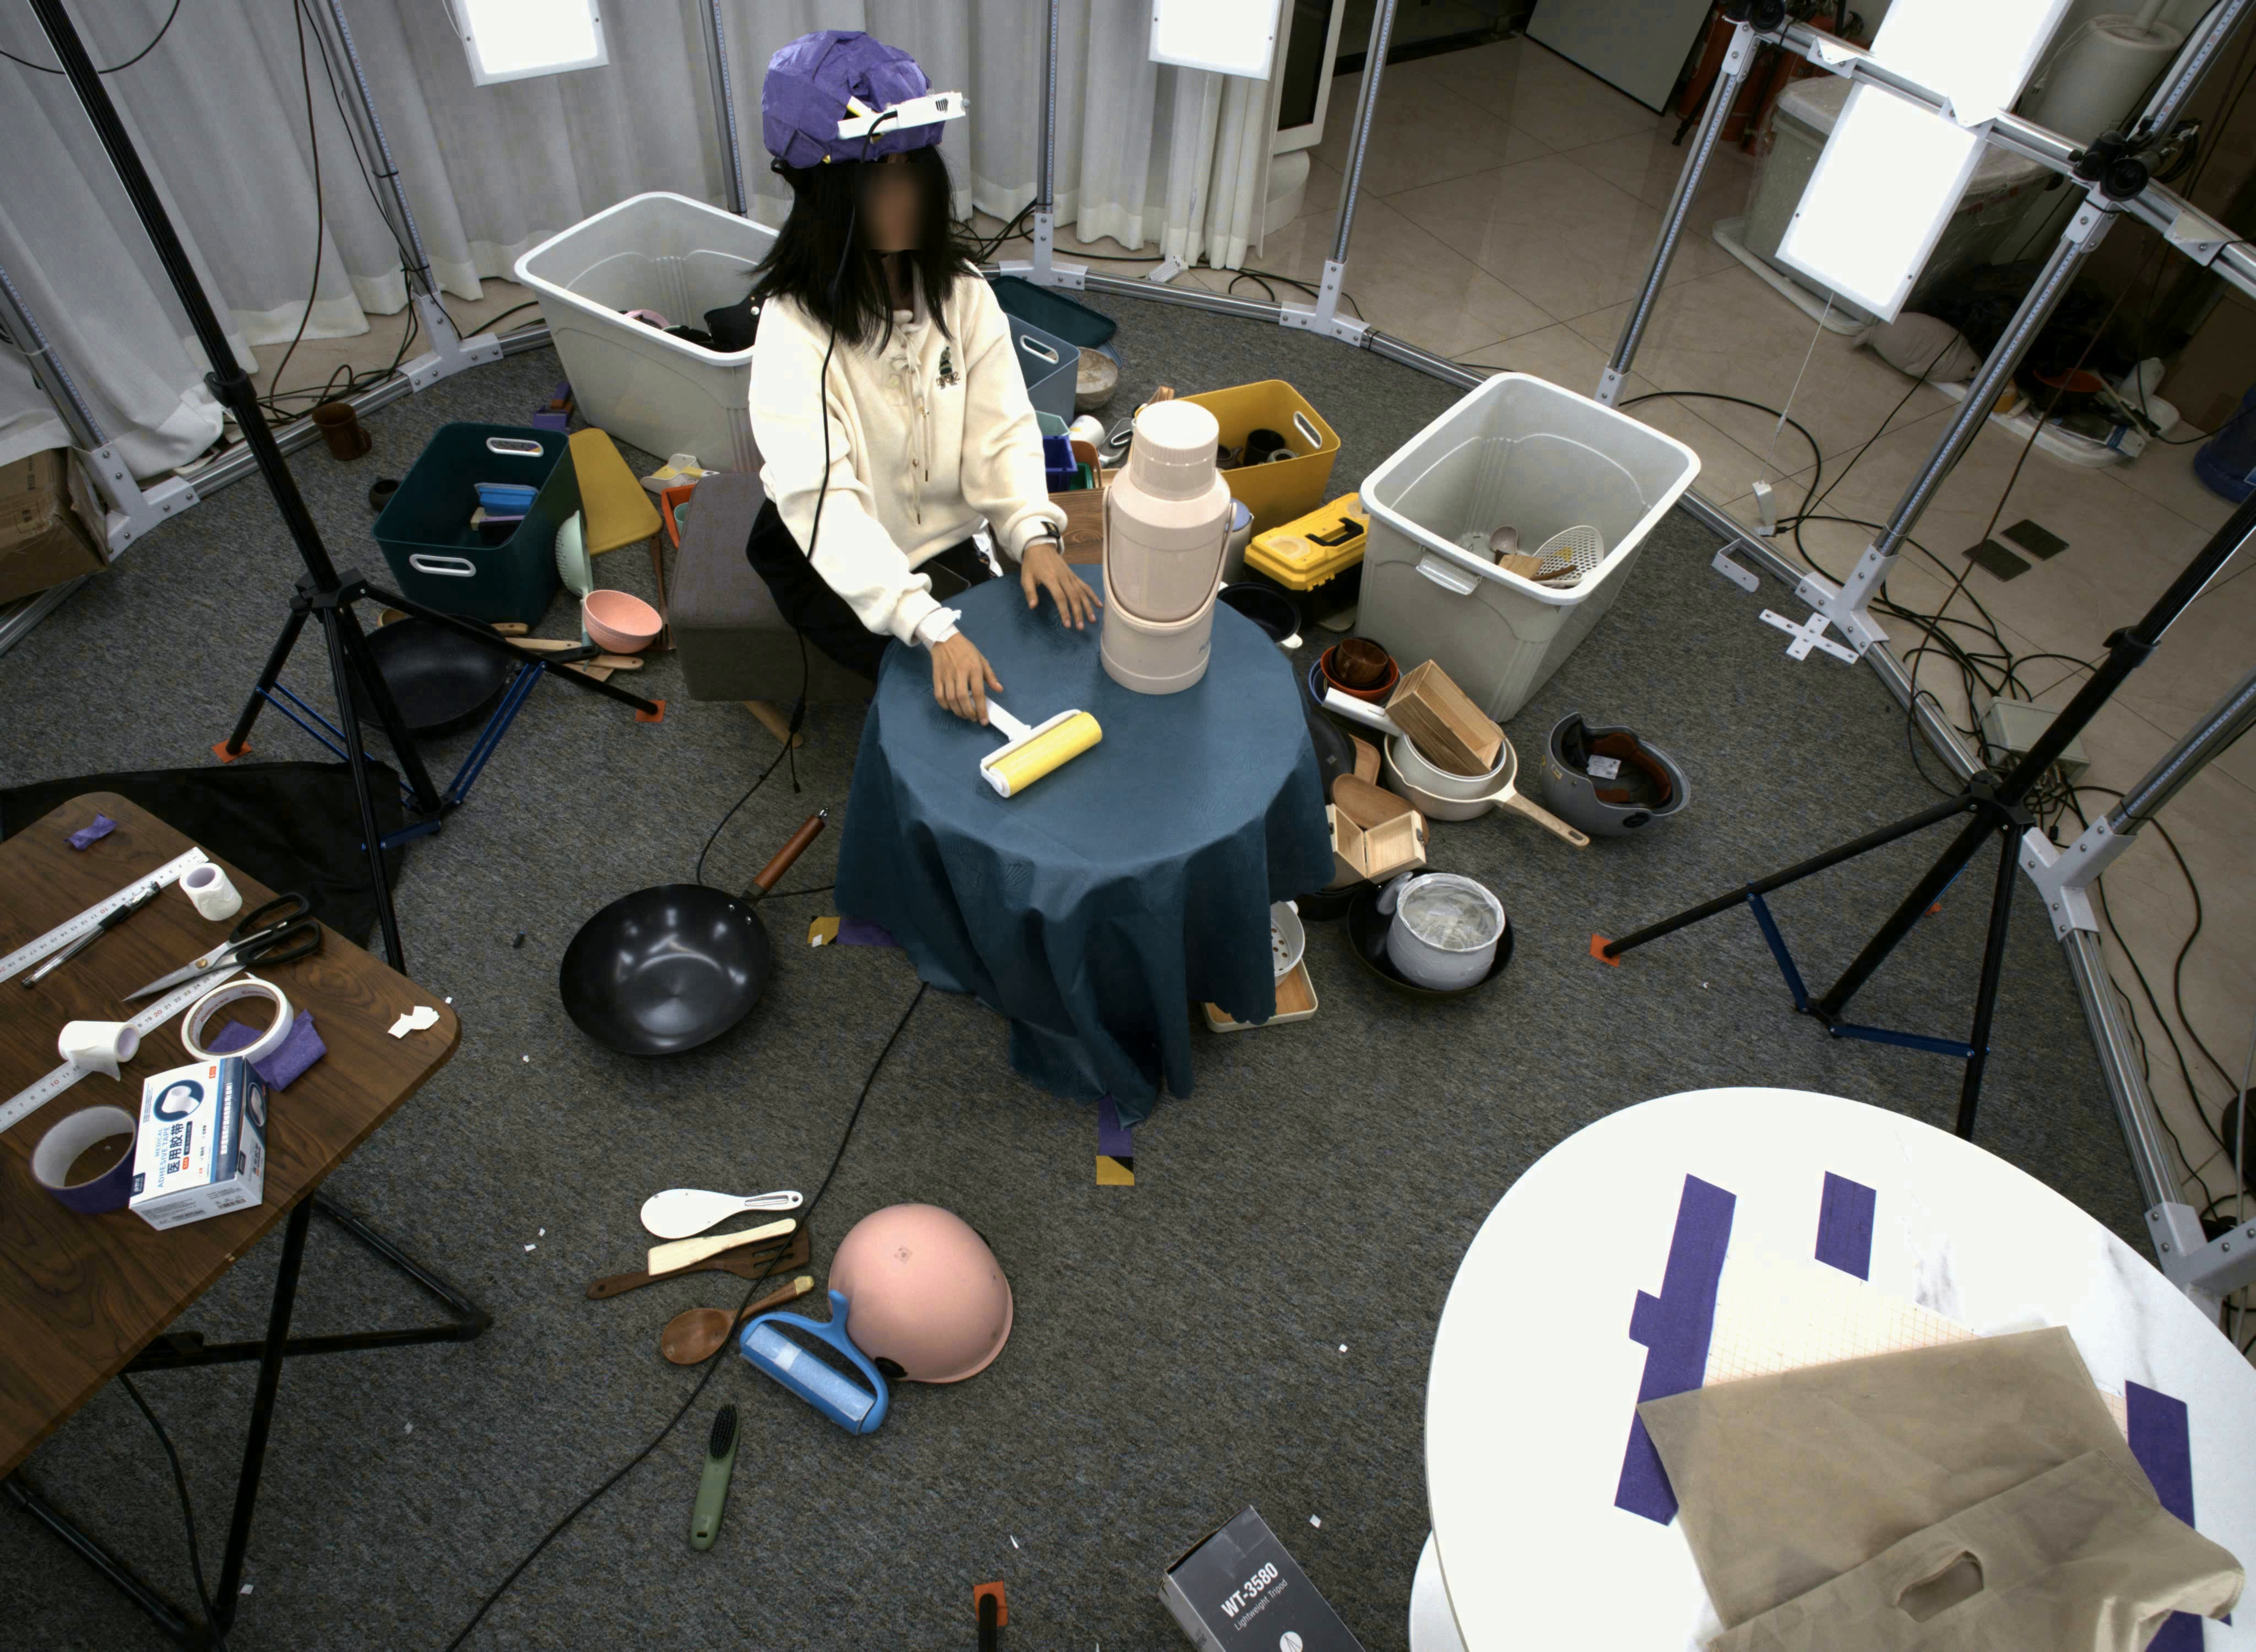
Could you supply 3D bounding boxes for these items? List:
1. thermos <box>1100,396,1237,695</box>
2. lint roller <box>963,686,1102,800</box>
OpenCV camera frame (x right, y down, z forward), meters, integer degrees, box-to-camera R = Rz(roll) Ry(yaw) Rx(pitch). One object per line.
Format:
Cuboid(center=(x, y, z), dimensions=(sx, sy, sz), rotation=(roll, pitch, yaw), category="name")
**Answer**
Cuboid(center=(0.053, -0.383, 1.751), dimensions=(0.175, 0.396, 0.212), rotation=(8, 49, 3), category="thermos")
Cuboid(center=(-0.158, -0.139, 1.745), dimensions=(0.175, 0.050, 0.195), rotation=(-34, 66, -29), category="lint roller")
